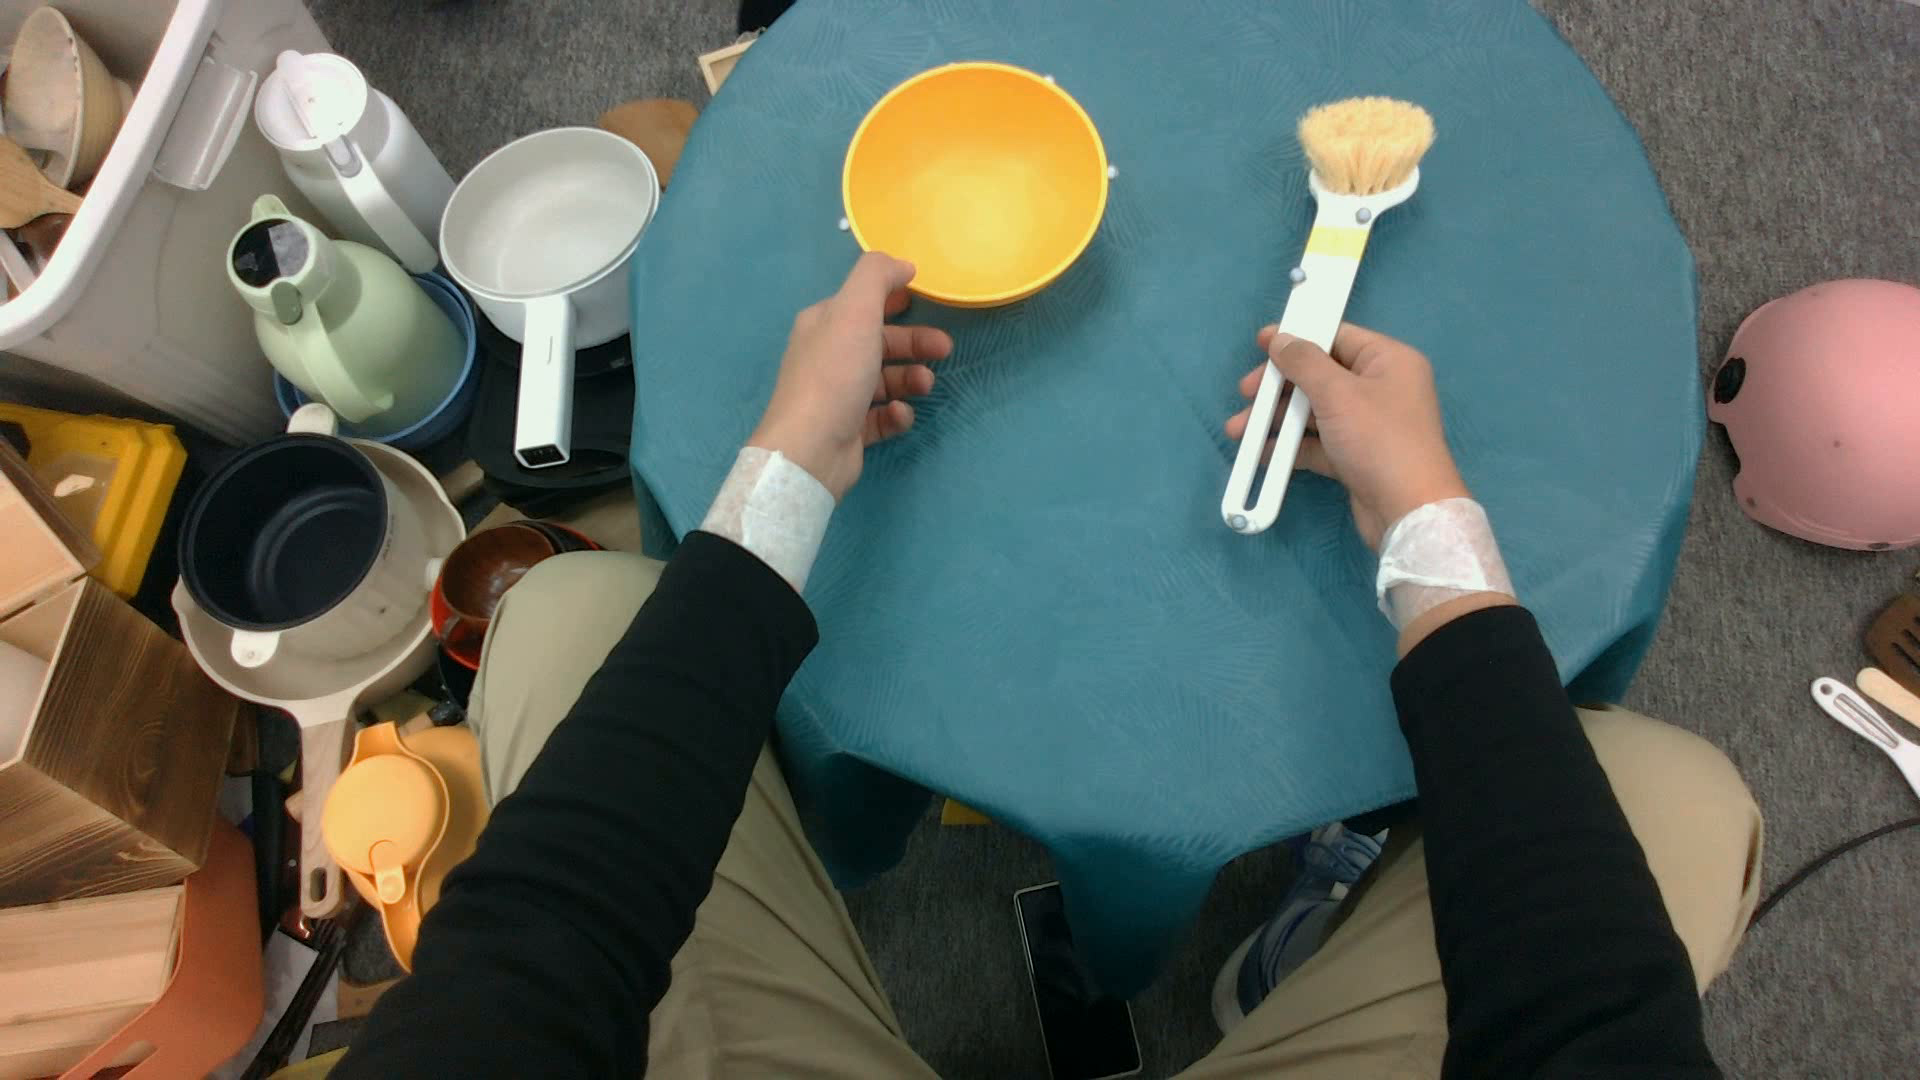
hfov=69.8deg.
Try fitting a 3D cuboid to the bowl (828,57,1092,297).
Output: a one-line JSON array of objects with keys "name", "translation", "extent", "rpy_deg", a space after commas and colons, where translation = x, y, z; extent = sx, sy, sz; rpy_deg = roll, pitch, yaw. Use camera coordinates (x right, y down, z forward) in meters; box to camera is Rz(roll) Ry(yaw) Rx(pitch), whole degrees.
[{"name": "bowl", "translation": [0.001, -0.194, 0.776], "extent": [0.145, 0.060, 0.145], "rpy_deg": [-1, 74, 3]}]

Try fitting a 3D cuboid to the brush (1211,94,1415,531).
[{"name": "brush", "translation": [0.182, -0.132, 0.735], "extent": [0.068, 0.056, 0.267], "rpy_deg": [12, 68, 31]}]
